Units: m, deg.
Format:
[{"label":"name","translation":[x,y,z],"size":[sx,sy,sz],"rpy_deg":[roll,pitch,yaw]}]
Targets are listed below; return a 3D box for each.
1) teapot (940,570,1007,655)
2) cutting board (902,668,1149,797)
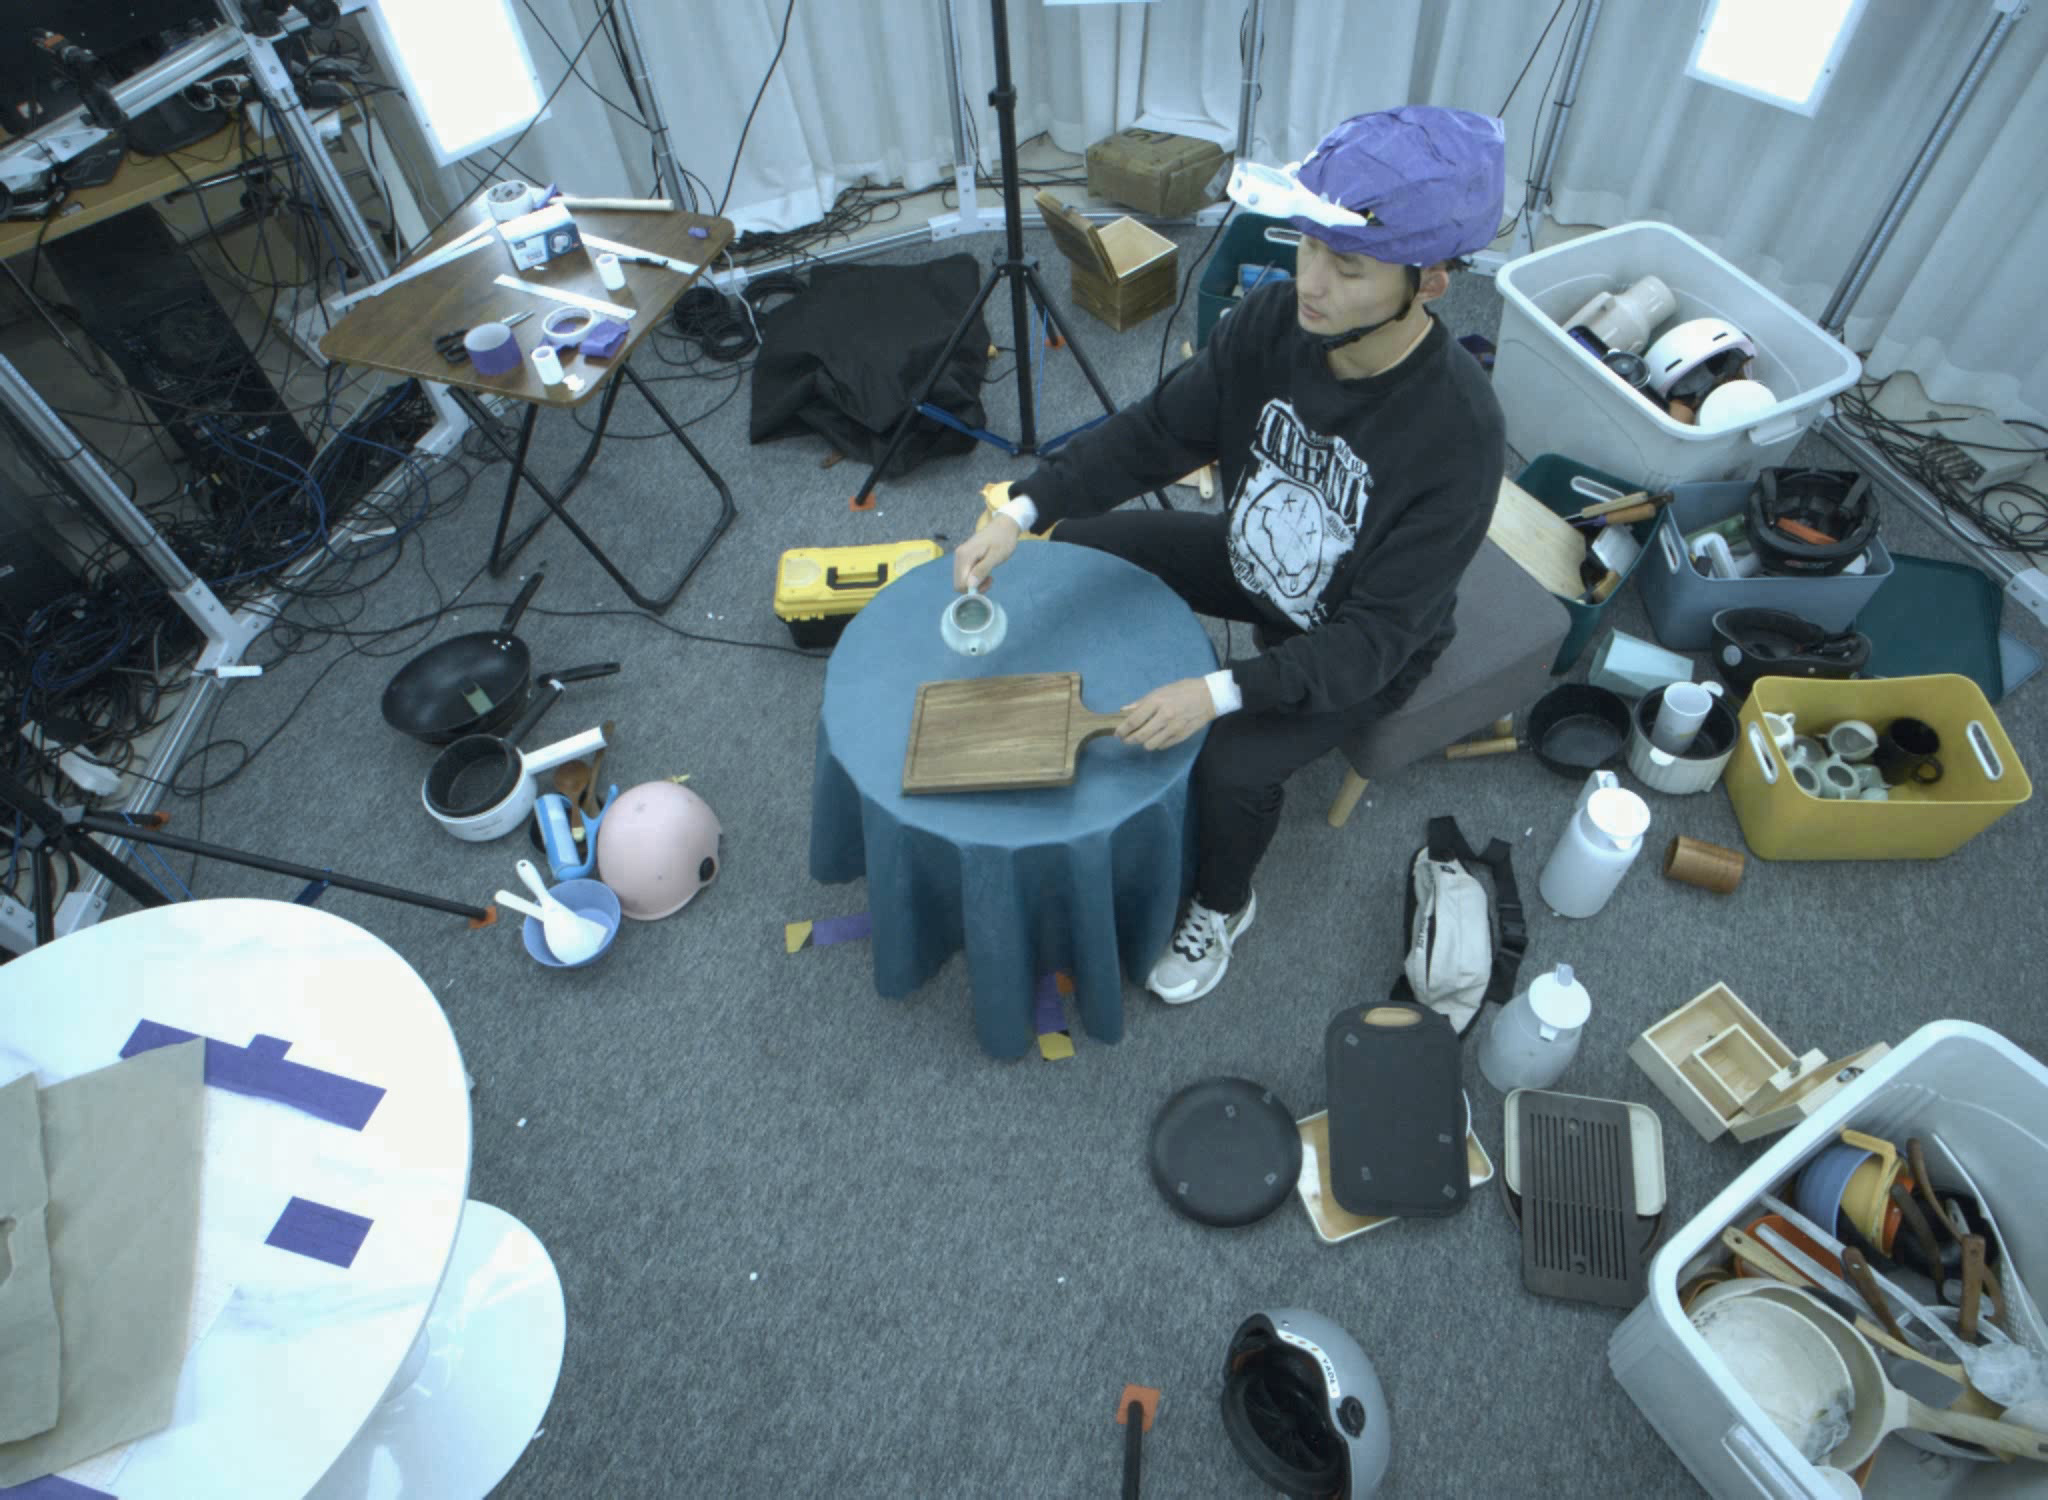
[{"label":"teapot","translation":[-0.074,-0.190,1.749],"size":[0.096,0.062,0.136],"rpy_deg":[-5,71,0]},{"label":"cutting board","translation":[0.003,-0.031,1.761],"size":[0.350,0.023,0.199],"rpy_deg":[-4,54,10]}]
